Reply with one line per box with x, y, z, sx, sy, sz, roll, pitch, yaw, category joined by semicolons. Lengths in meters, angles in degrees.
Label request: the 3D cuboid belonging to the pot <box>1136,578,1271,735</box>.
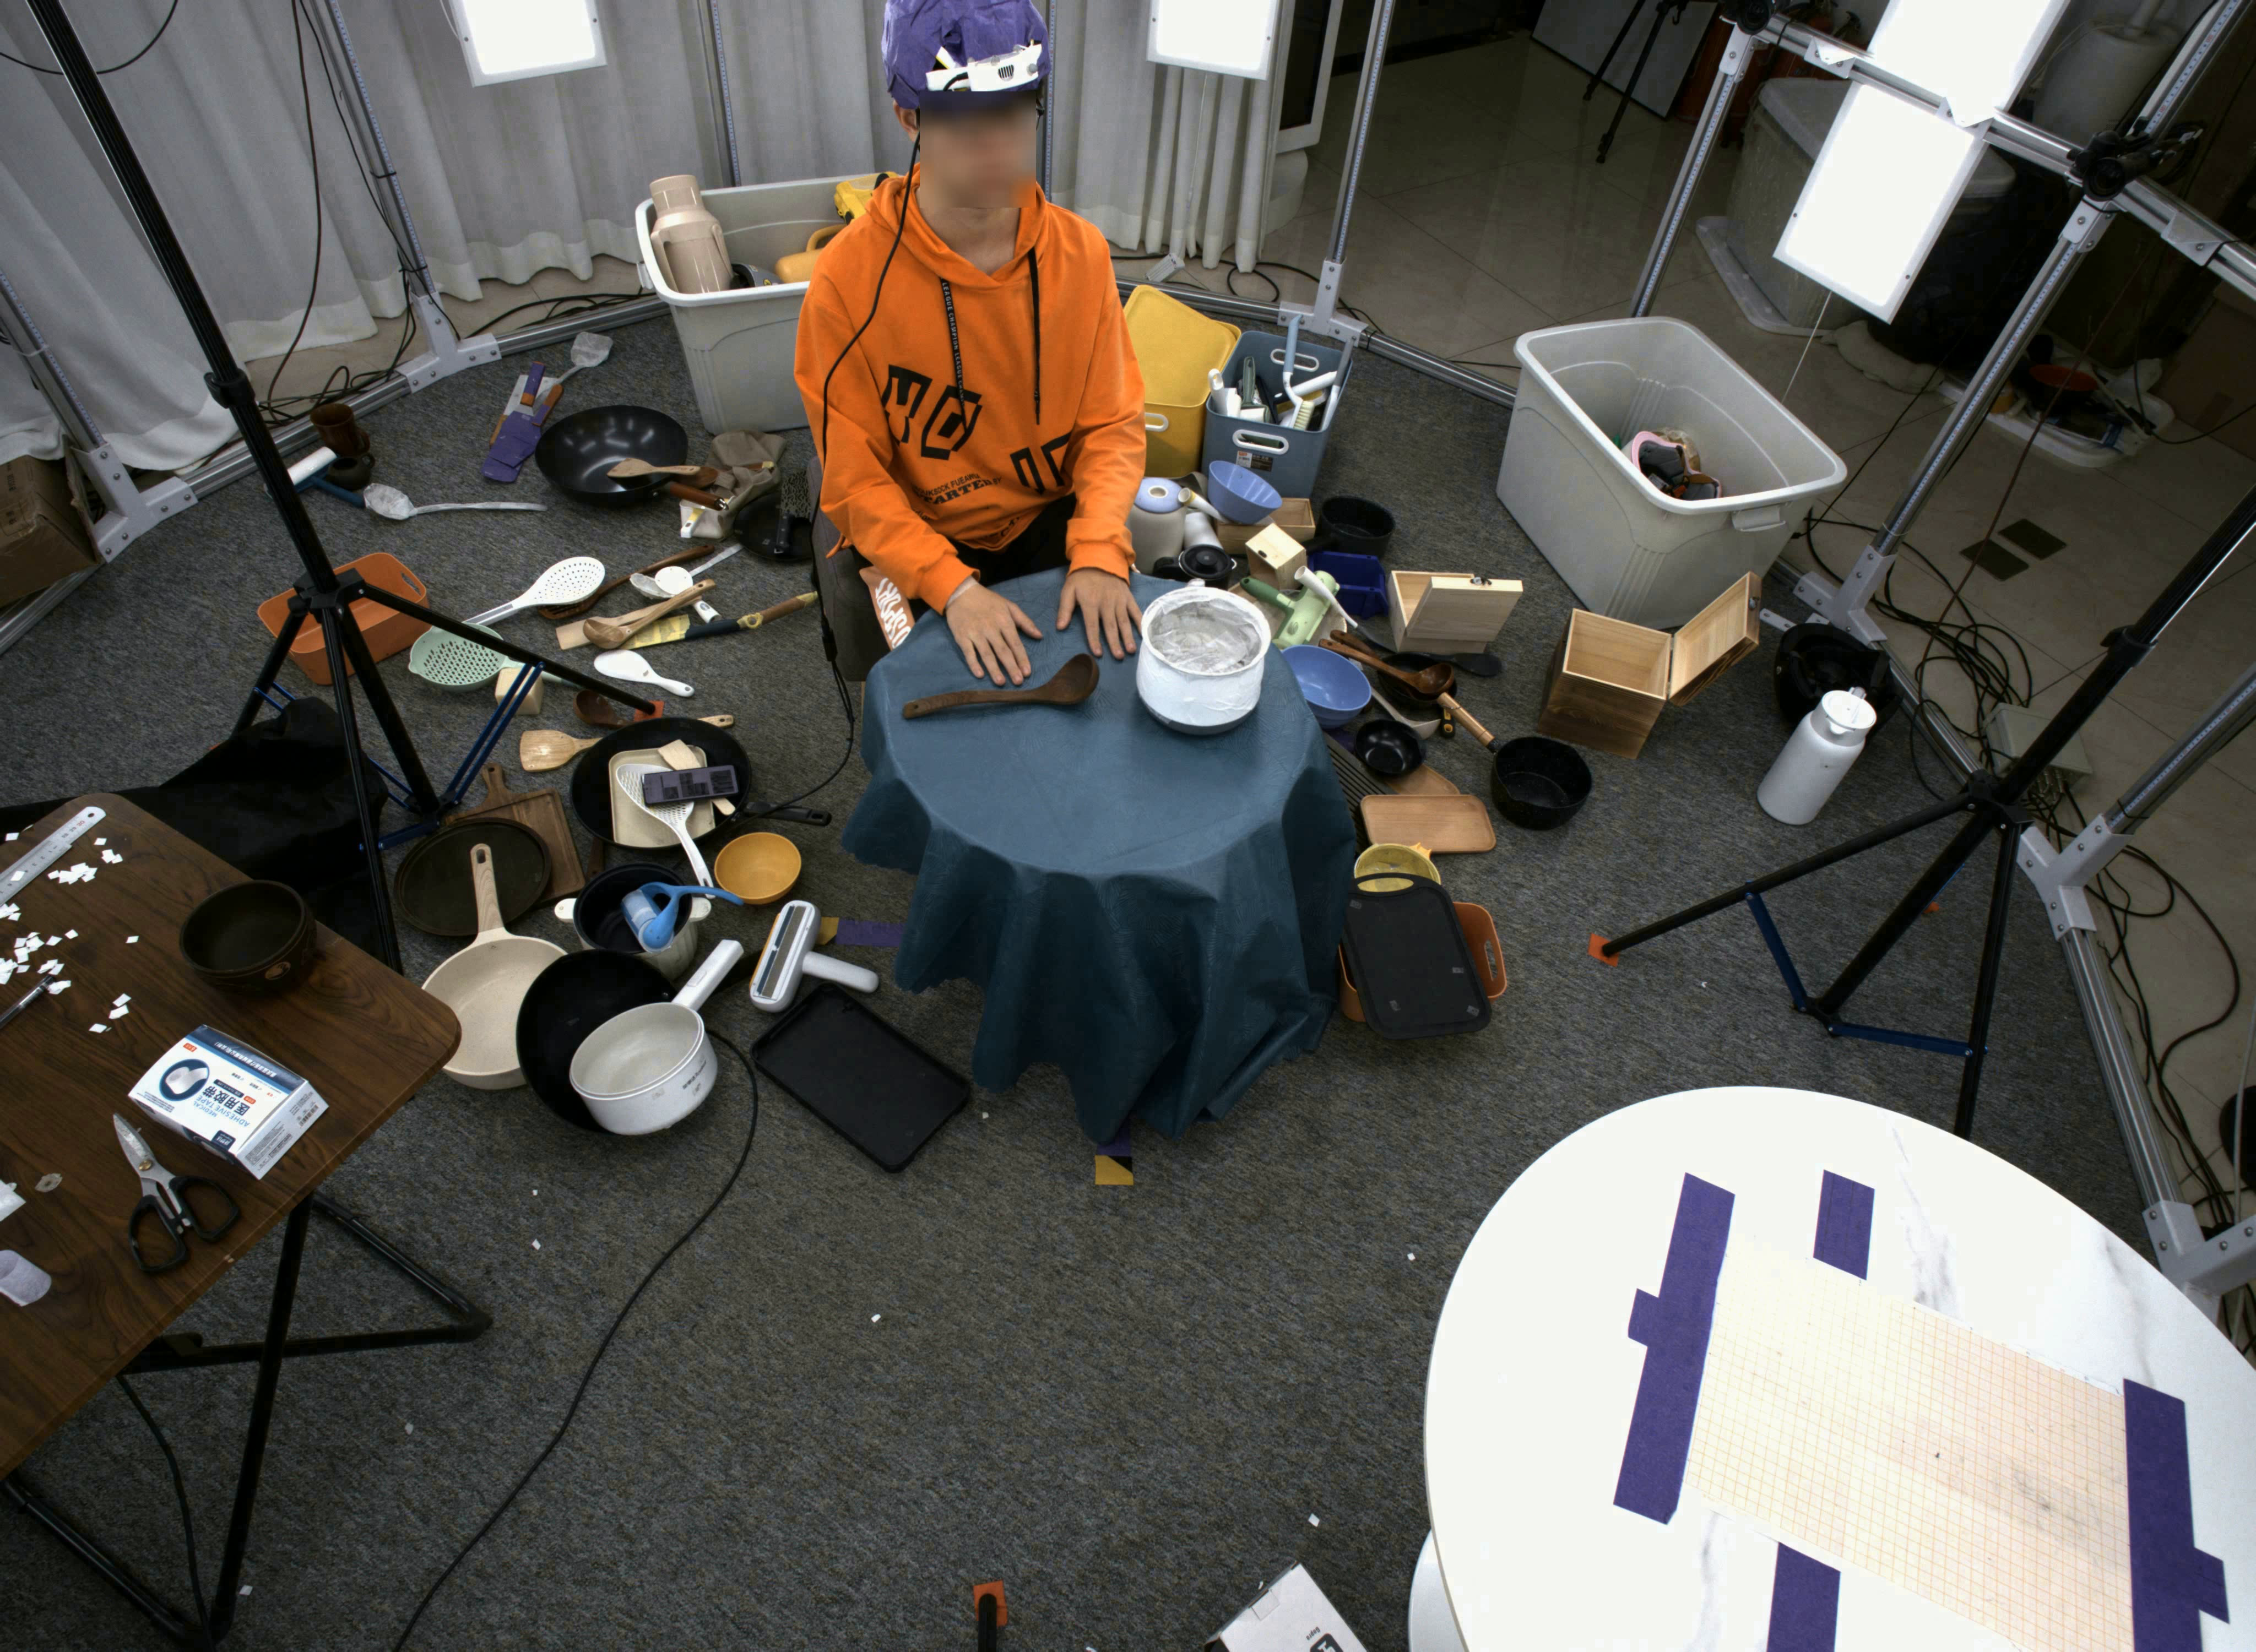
0.098;-0.247;1.801;0.178;0.133;0.239;-2;50;-6;pot

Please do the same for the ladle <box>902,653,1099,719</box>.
-0.176;-0.193;1.779;0.274;0.069;0.078;-6;48;-10;ladle
